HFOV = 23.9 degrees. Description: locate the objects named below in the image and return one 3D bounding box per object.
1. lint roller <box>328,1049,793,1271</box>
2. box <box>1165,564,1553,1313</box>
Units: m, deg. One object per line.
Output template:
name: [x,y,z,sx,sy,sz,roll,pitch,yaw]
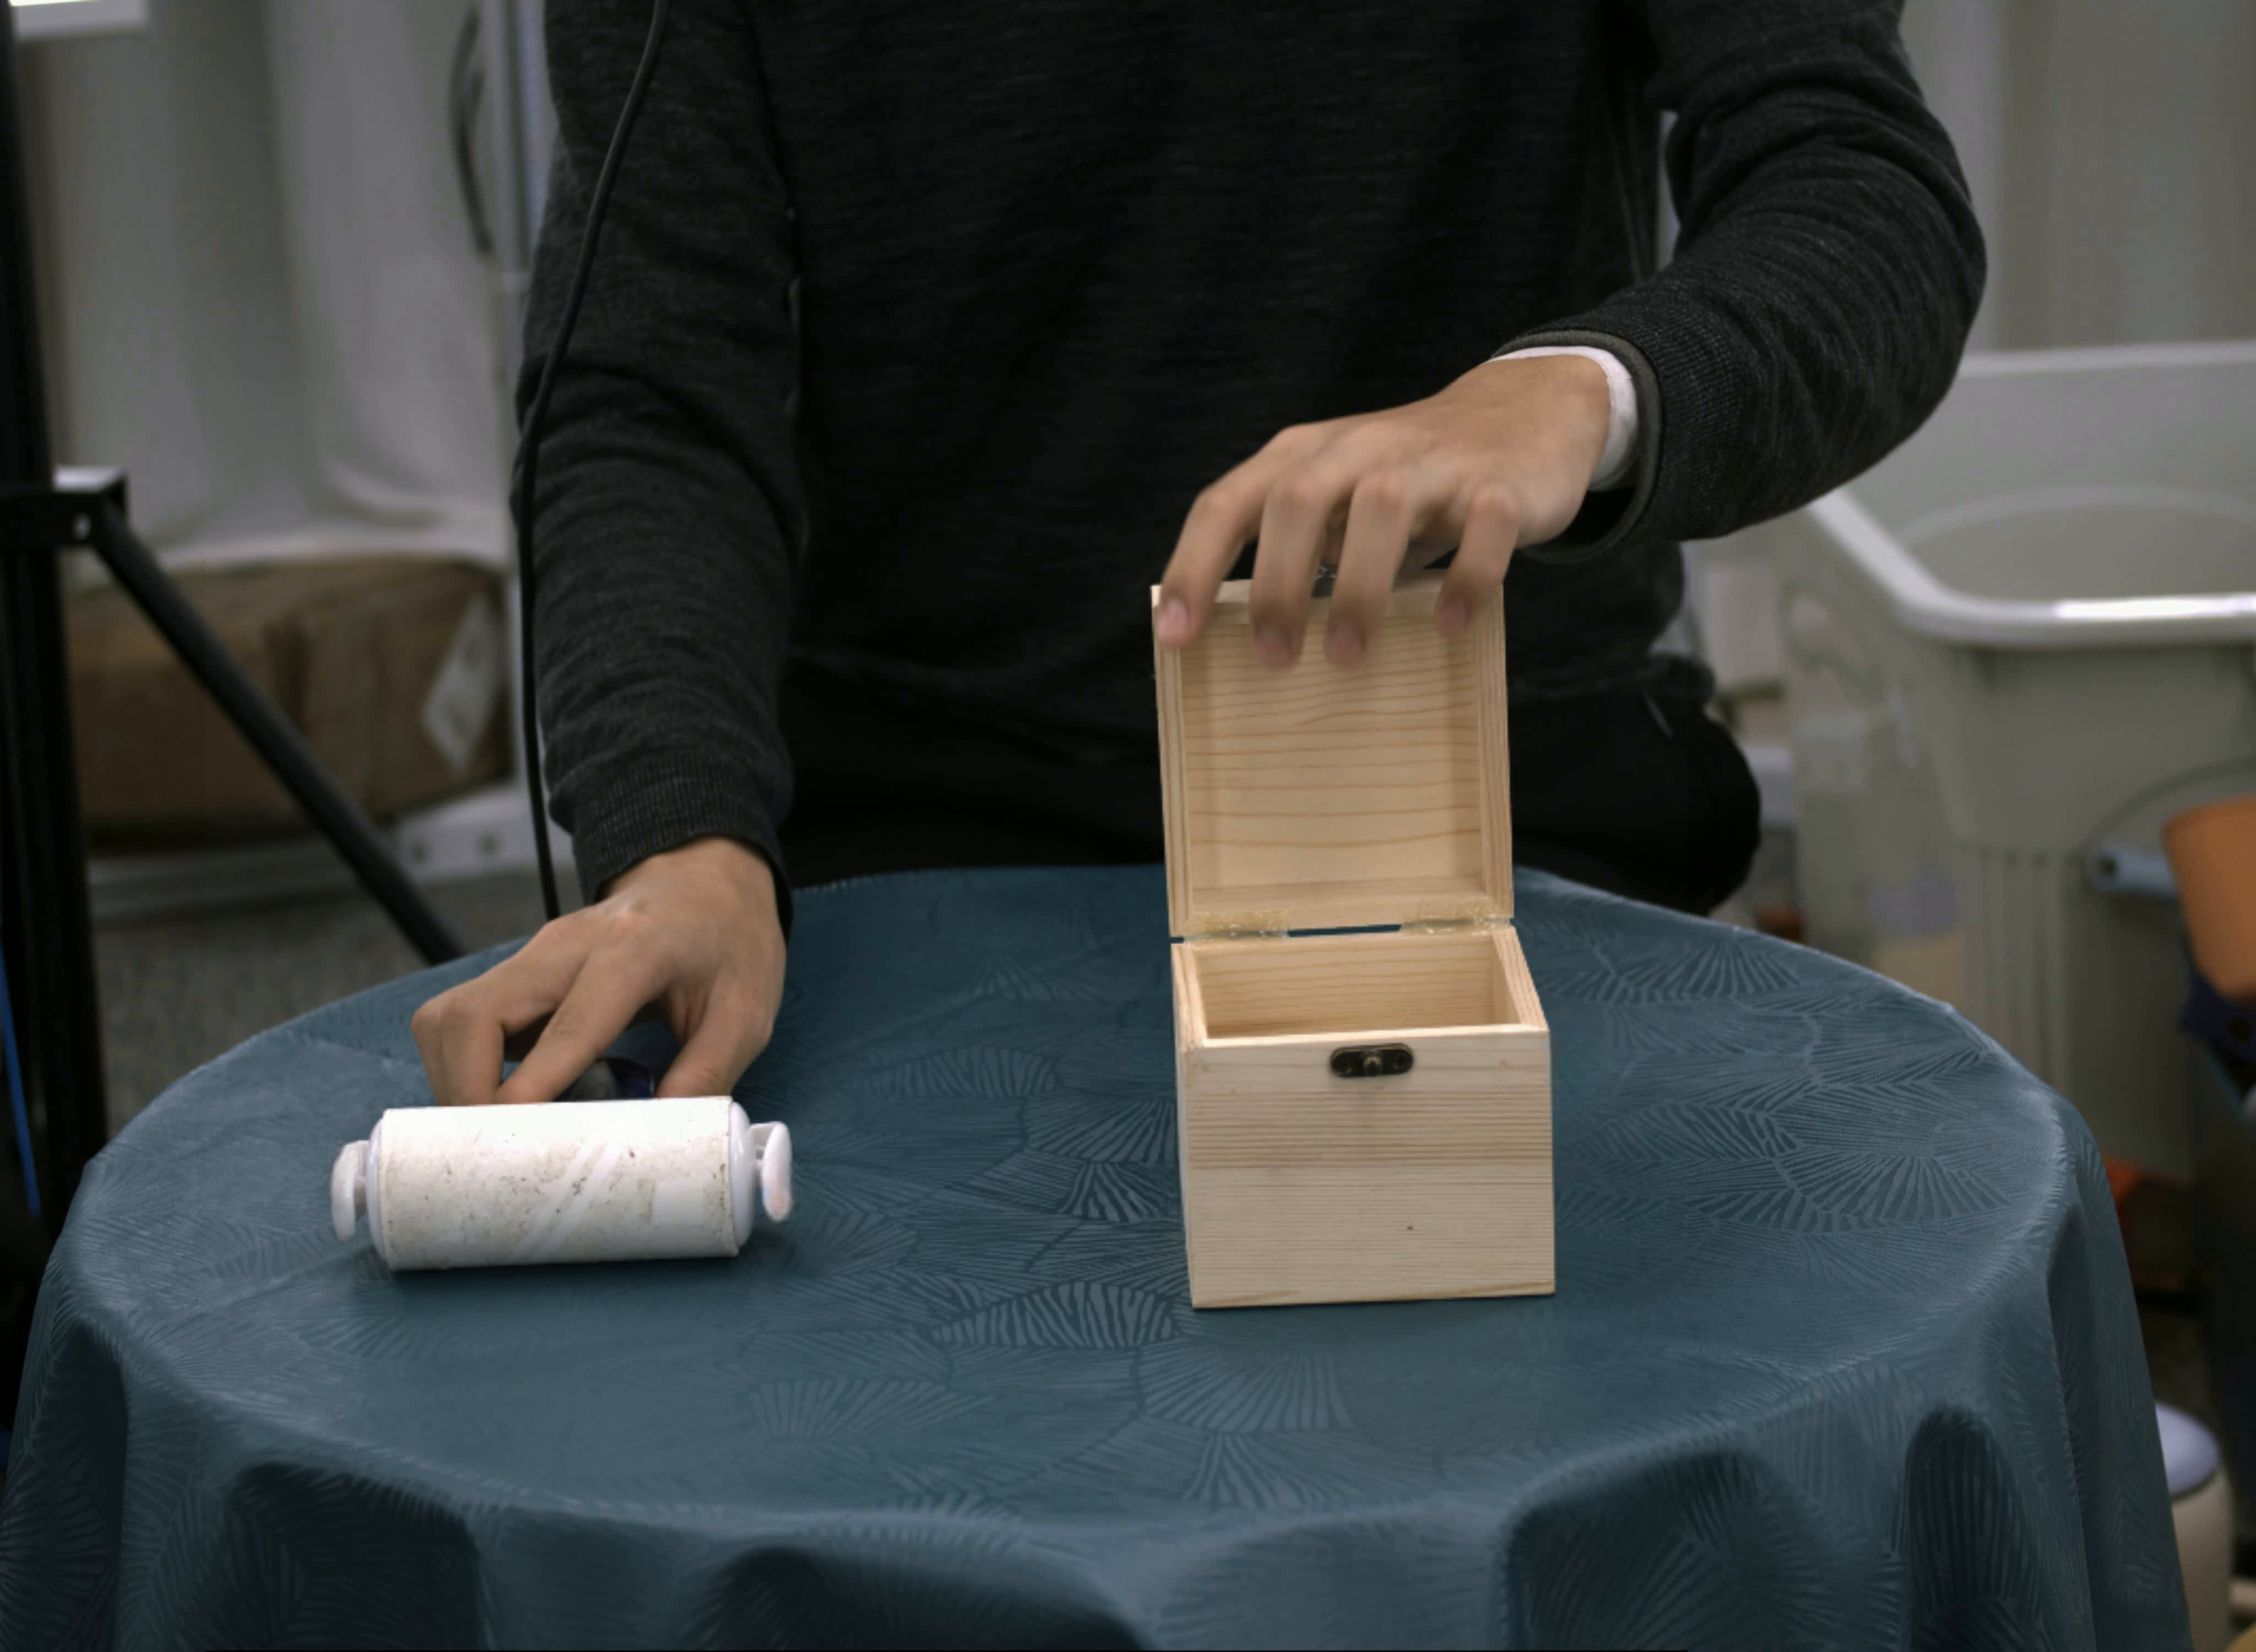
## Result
lint roller: [-0.162,0.083,1.585,0.132,0.050,0.181,-3,18,2]
box: [0.064,0.029,1.491,0.102,0.184,0.134,-2,14,0]
